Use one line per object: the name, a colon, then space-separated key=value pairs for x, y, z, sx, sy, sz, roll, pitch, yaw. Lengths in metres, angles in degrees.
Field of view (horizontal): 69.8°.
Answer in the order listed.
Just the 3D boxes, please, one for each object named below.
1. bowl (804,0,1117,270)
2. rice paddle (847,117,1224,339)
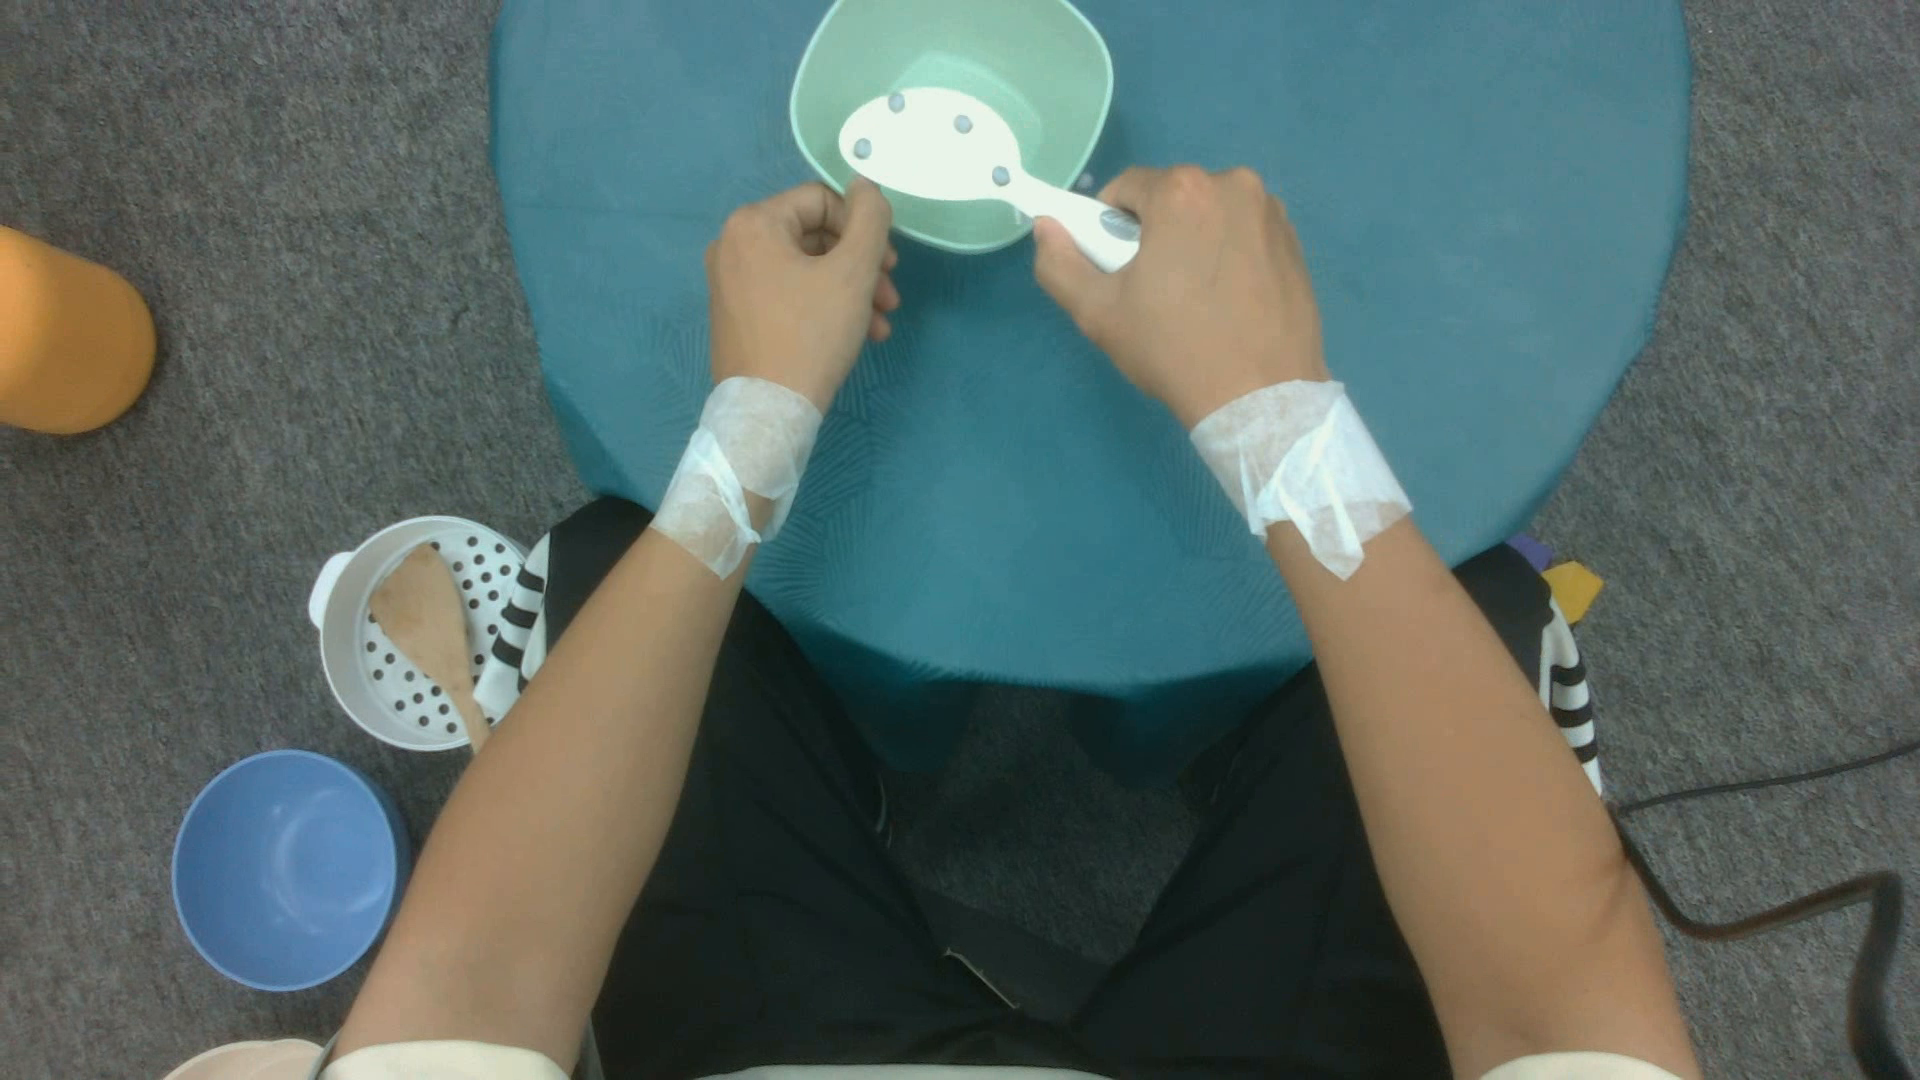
bowl: x=0.000 y=-0.195 z=0.679 sx=0.151 sy=0.058 sz=0.151 roll=1 pitch=78 yaw=-2
rice paddle: x=0.027 y=-0.147 z=0.615 sx=0.069 sy=0.029 sz=0.205 roll=-40 pitch=57 yaw=-23
